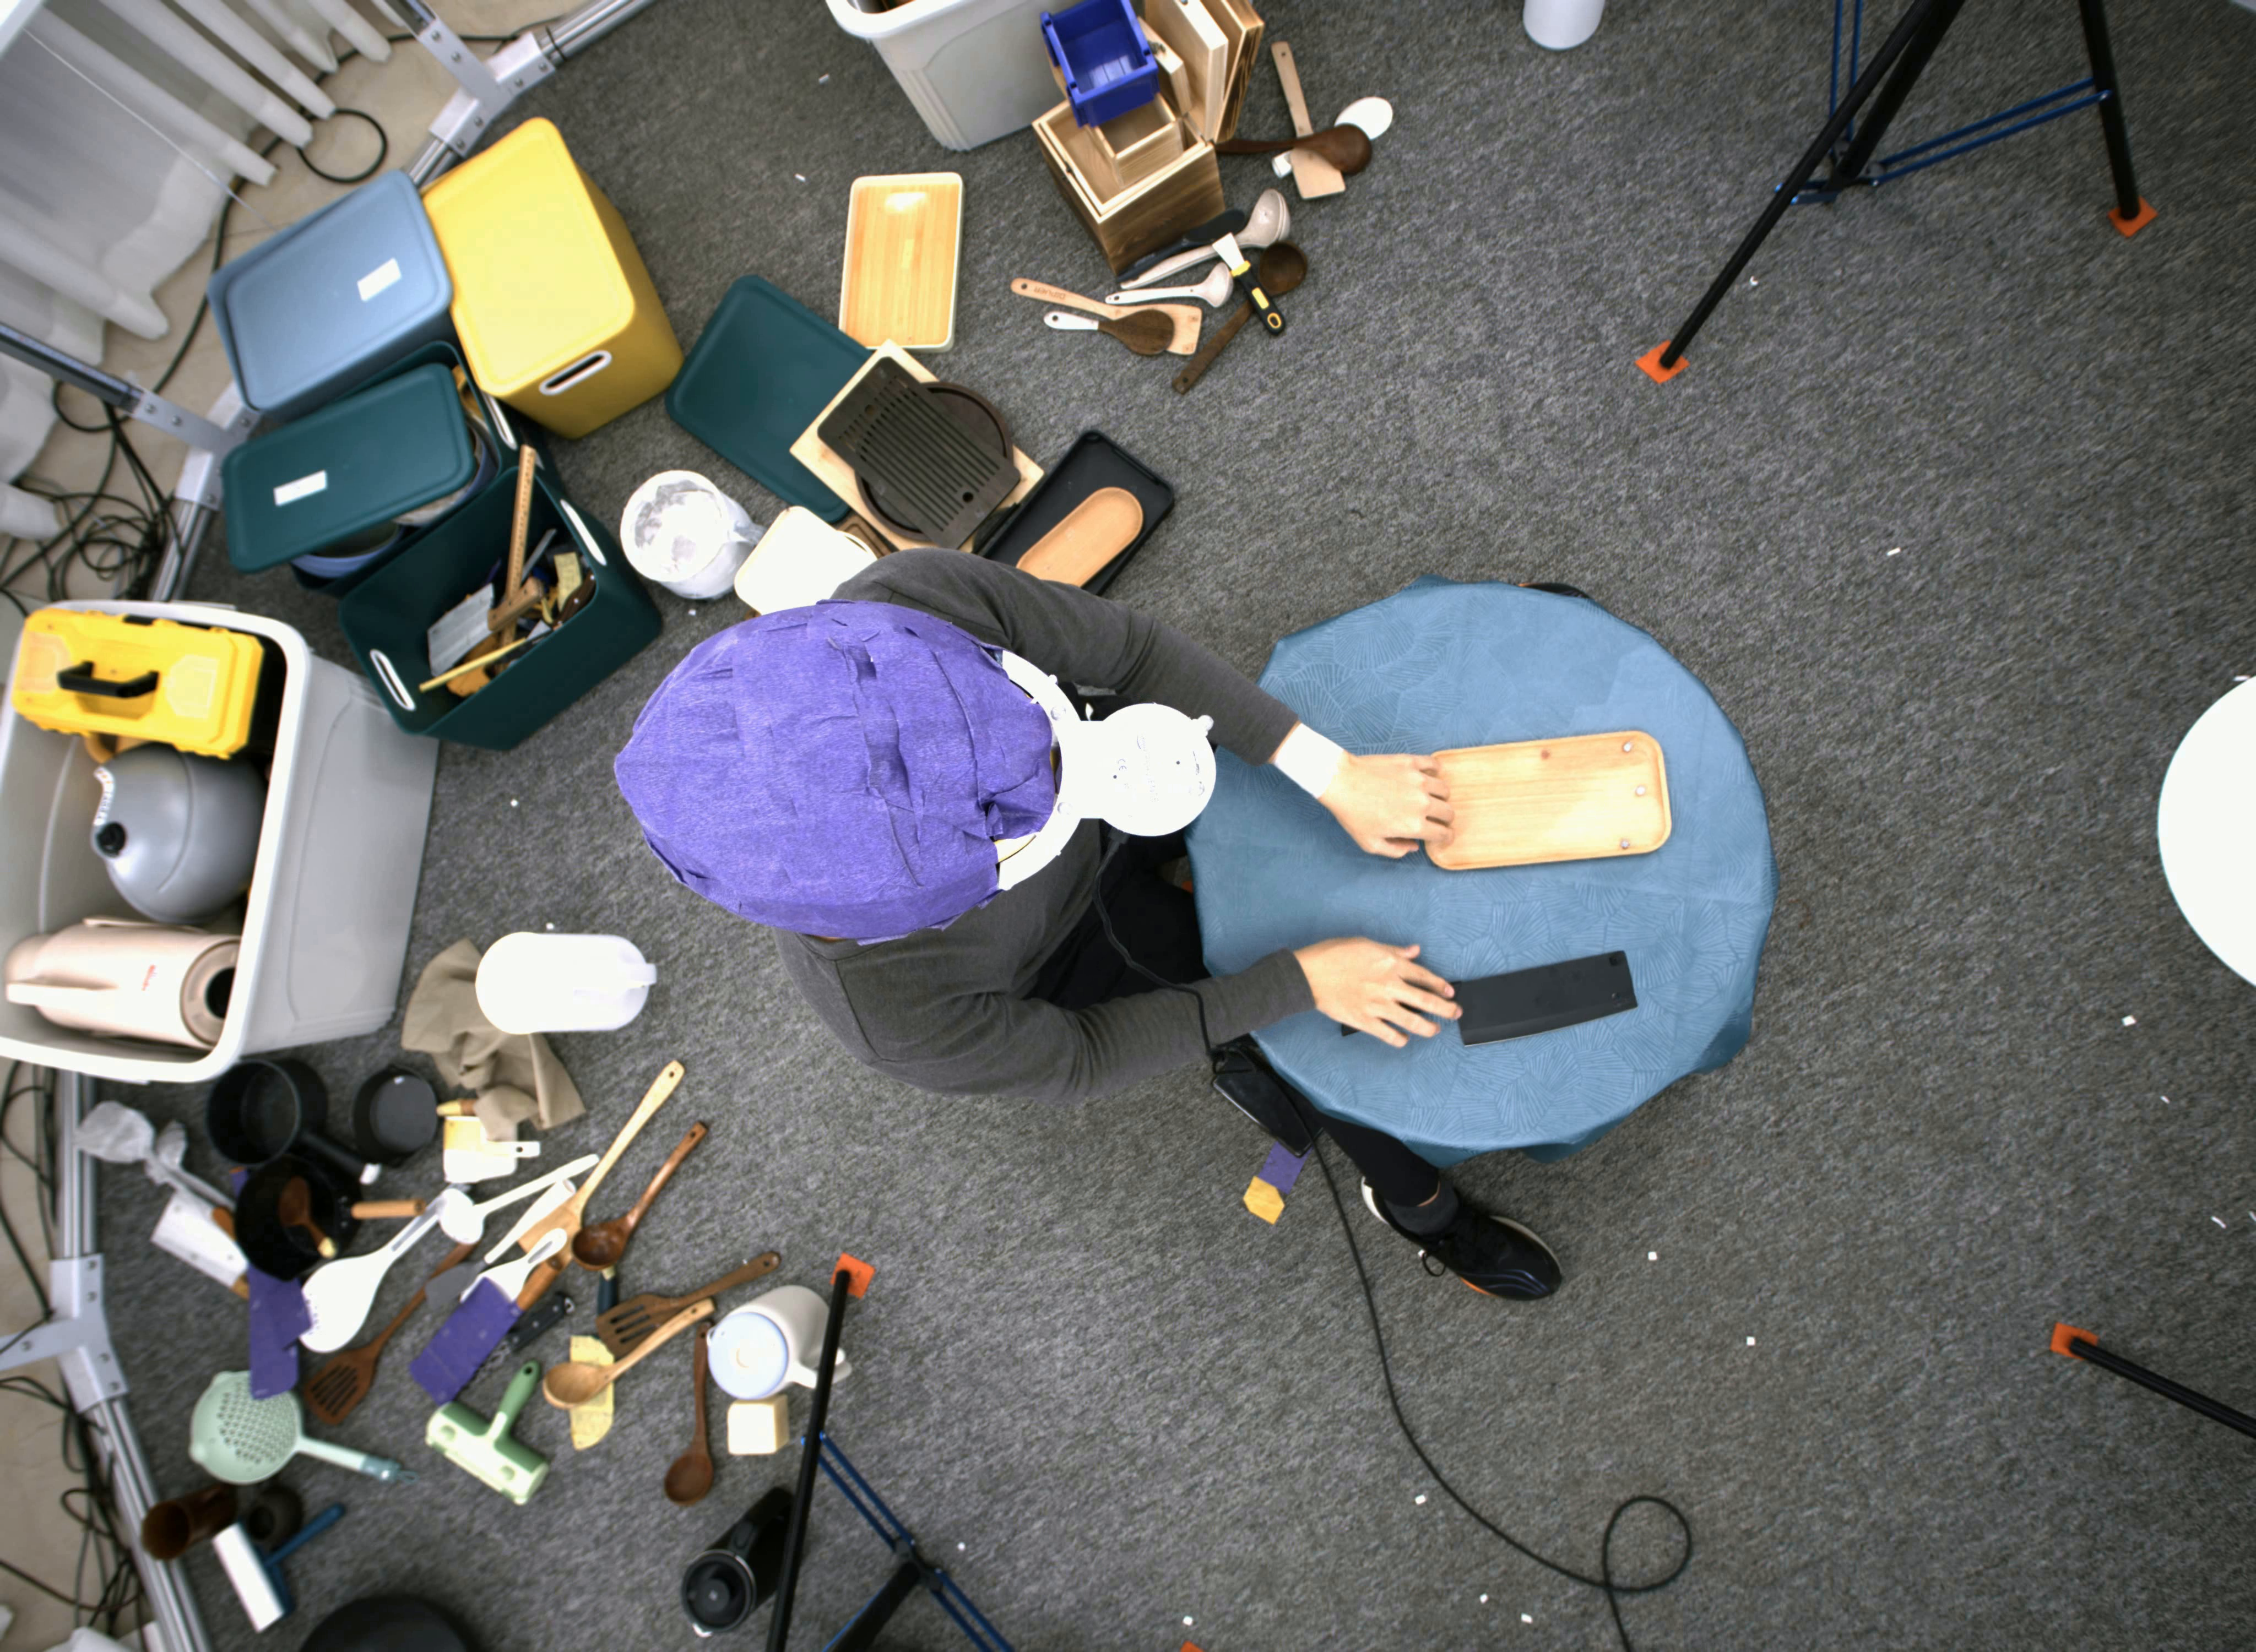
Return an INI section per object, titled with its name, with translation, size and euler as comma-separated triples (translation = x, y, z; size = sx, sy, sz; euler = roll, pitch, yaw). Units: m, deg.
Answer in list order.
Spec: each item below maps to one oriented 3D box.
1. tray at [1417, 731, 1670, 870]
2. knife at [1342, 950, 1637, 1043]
[tray]
translation = 0.430, -0.028, 1.427
size = 0.252, 0.023, 0.129
euler = -5, 83, 12
[knife]
translation = 0.371, 0.183, 1.428
size = 0.303, 0.021, 0.080
euler = -8, 85, 8
